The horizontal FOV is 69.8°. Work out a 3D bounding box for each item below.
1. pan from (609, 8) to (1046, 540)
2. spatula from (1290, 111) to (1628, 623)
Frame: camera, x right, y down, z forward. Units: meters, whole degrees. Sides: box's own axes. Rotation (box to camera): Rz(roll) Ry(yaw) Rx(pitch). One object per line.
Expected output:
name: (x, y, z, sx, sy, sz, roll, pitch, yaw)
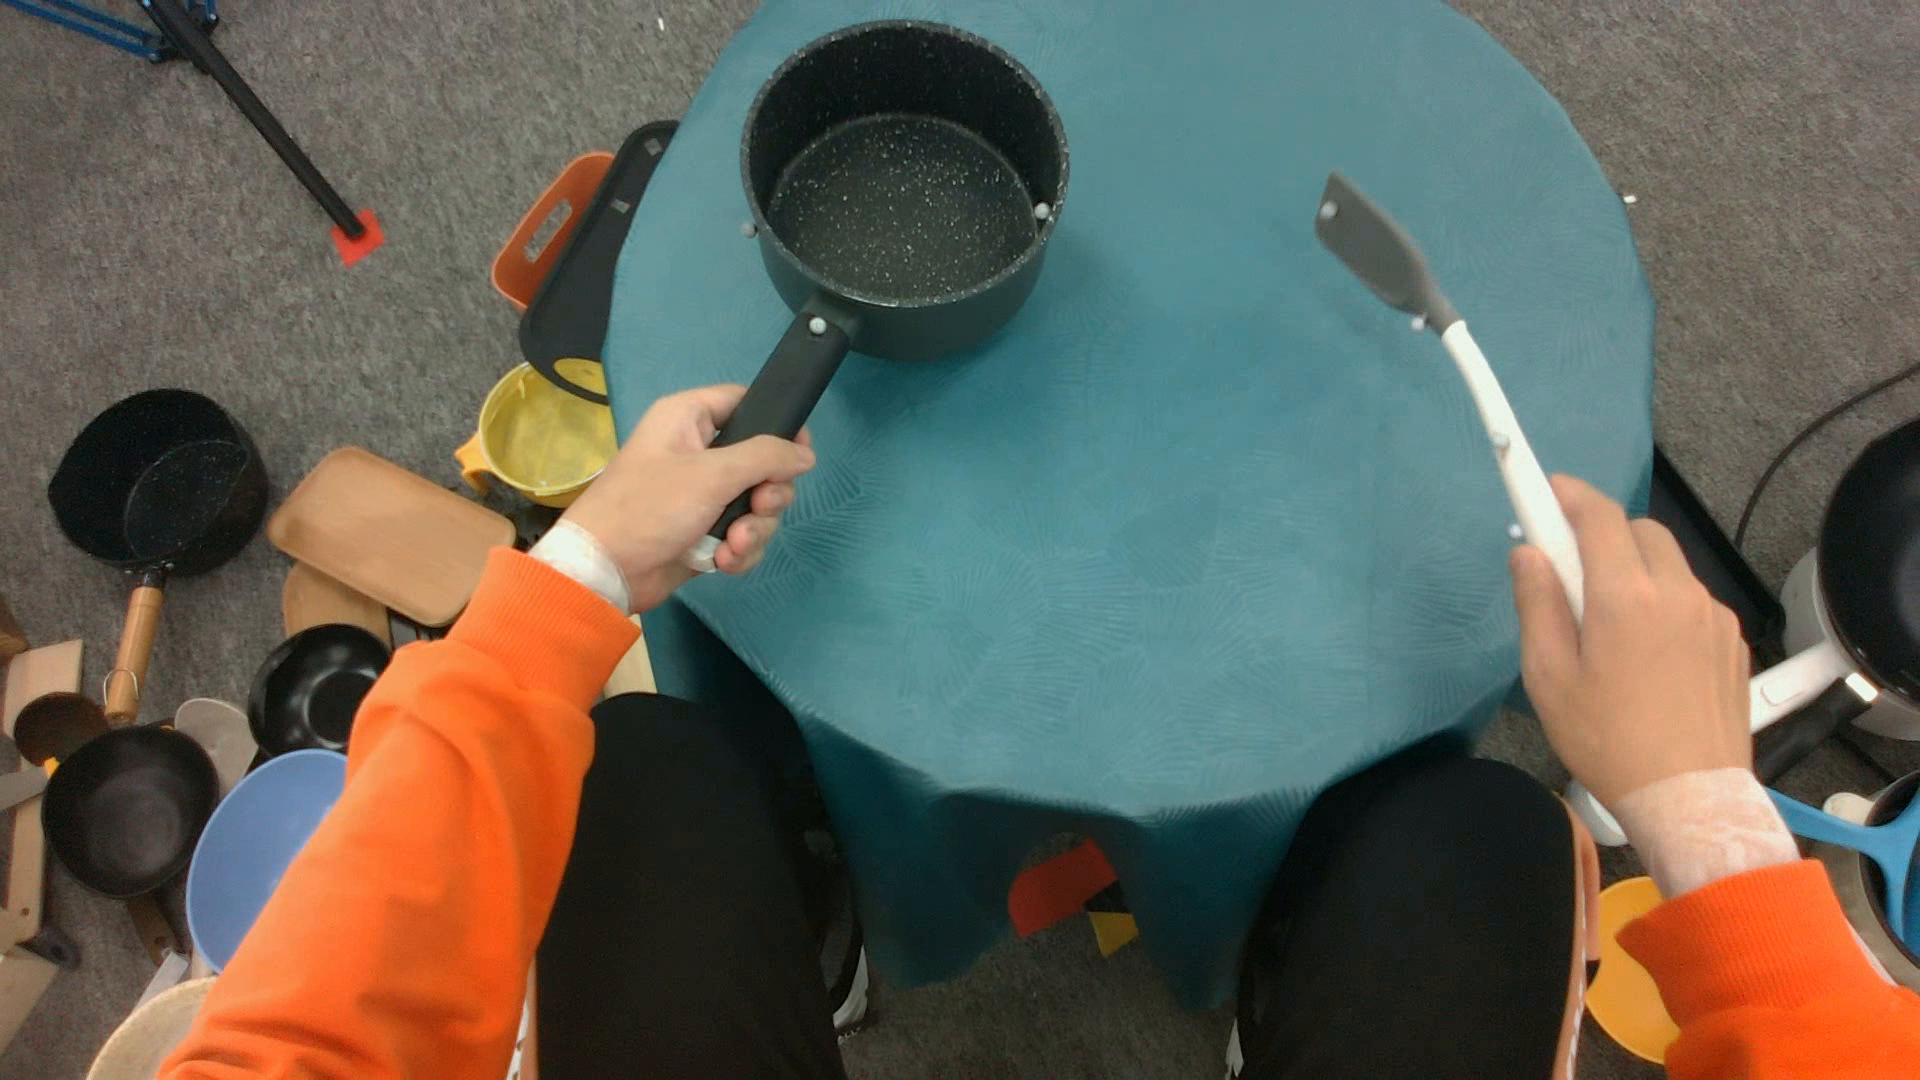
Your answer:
pan: (-0.077, -0.130, 0.722, 0.172, 0.086, 0.330, 26, 69, 6)
spatula: (0.235, -0.091, 0.669, 0.032, 0.058, 0.288, -11, 62, -17)
